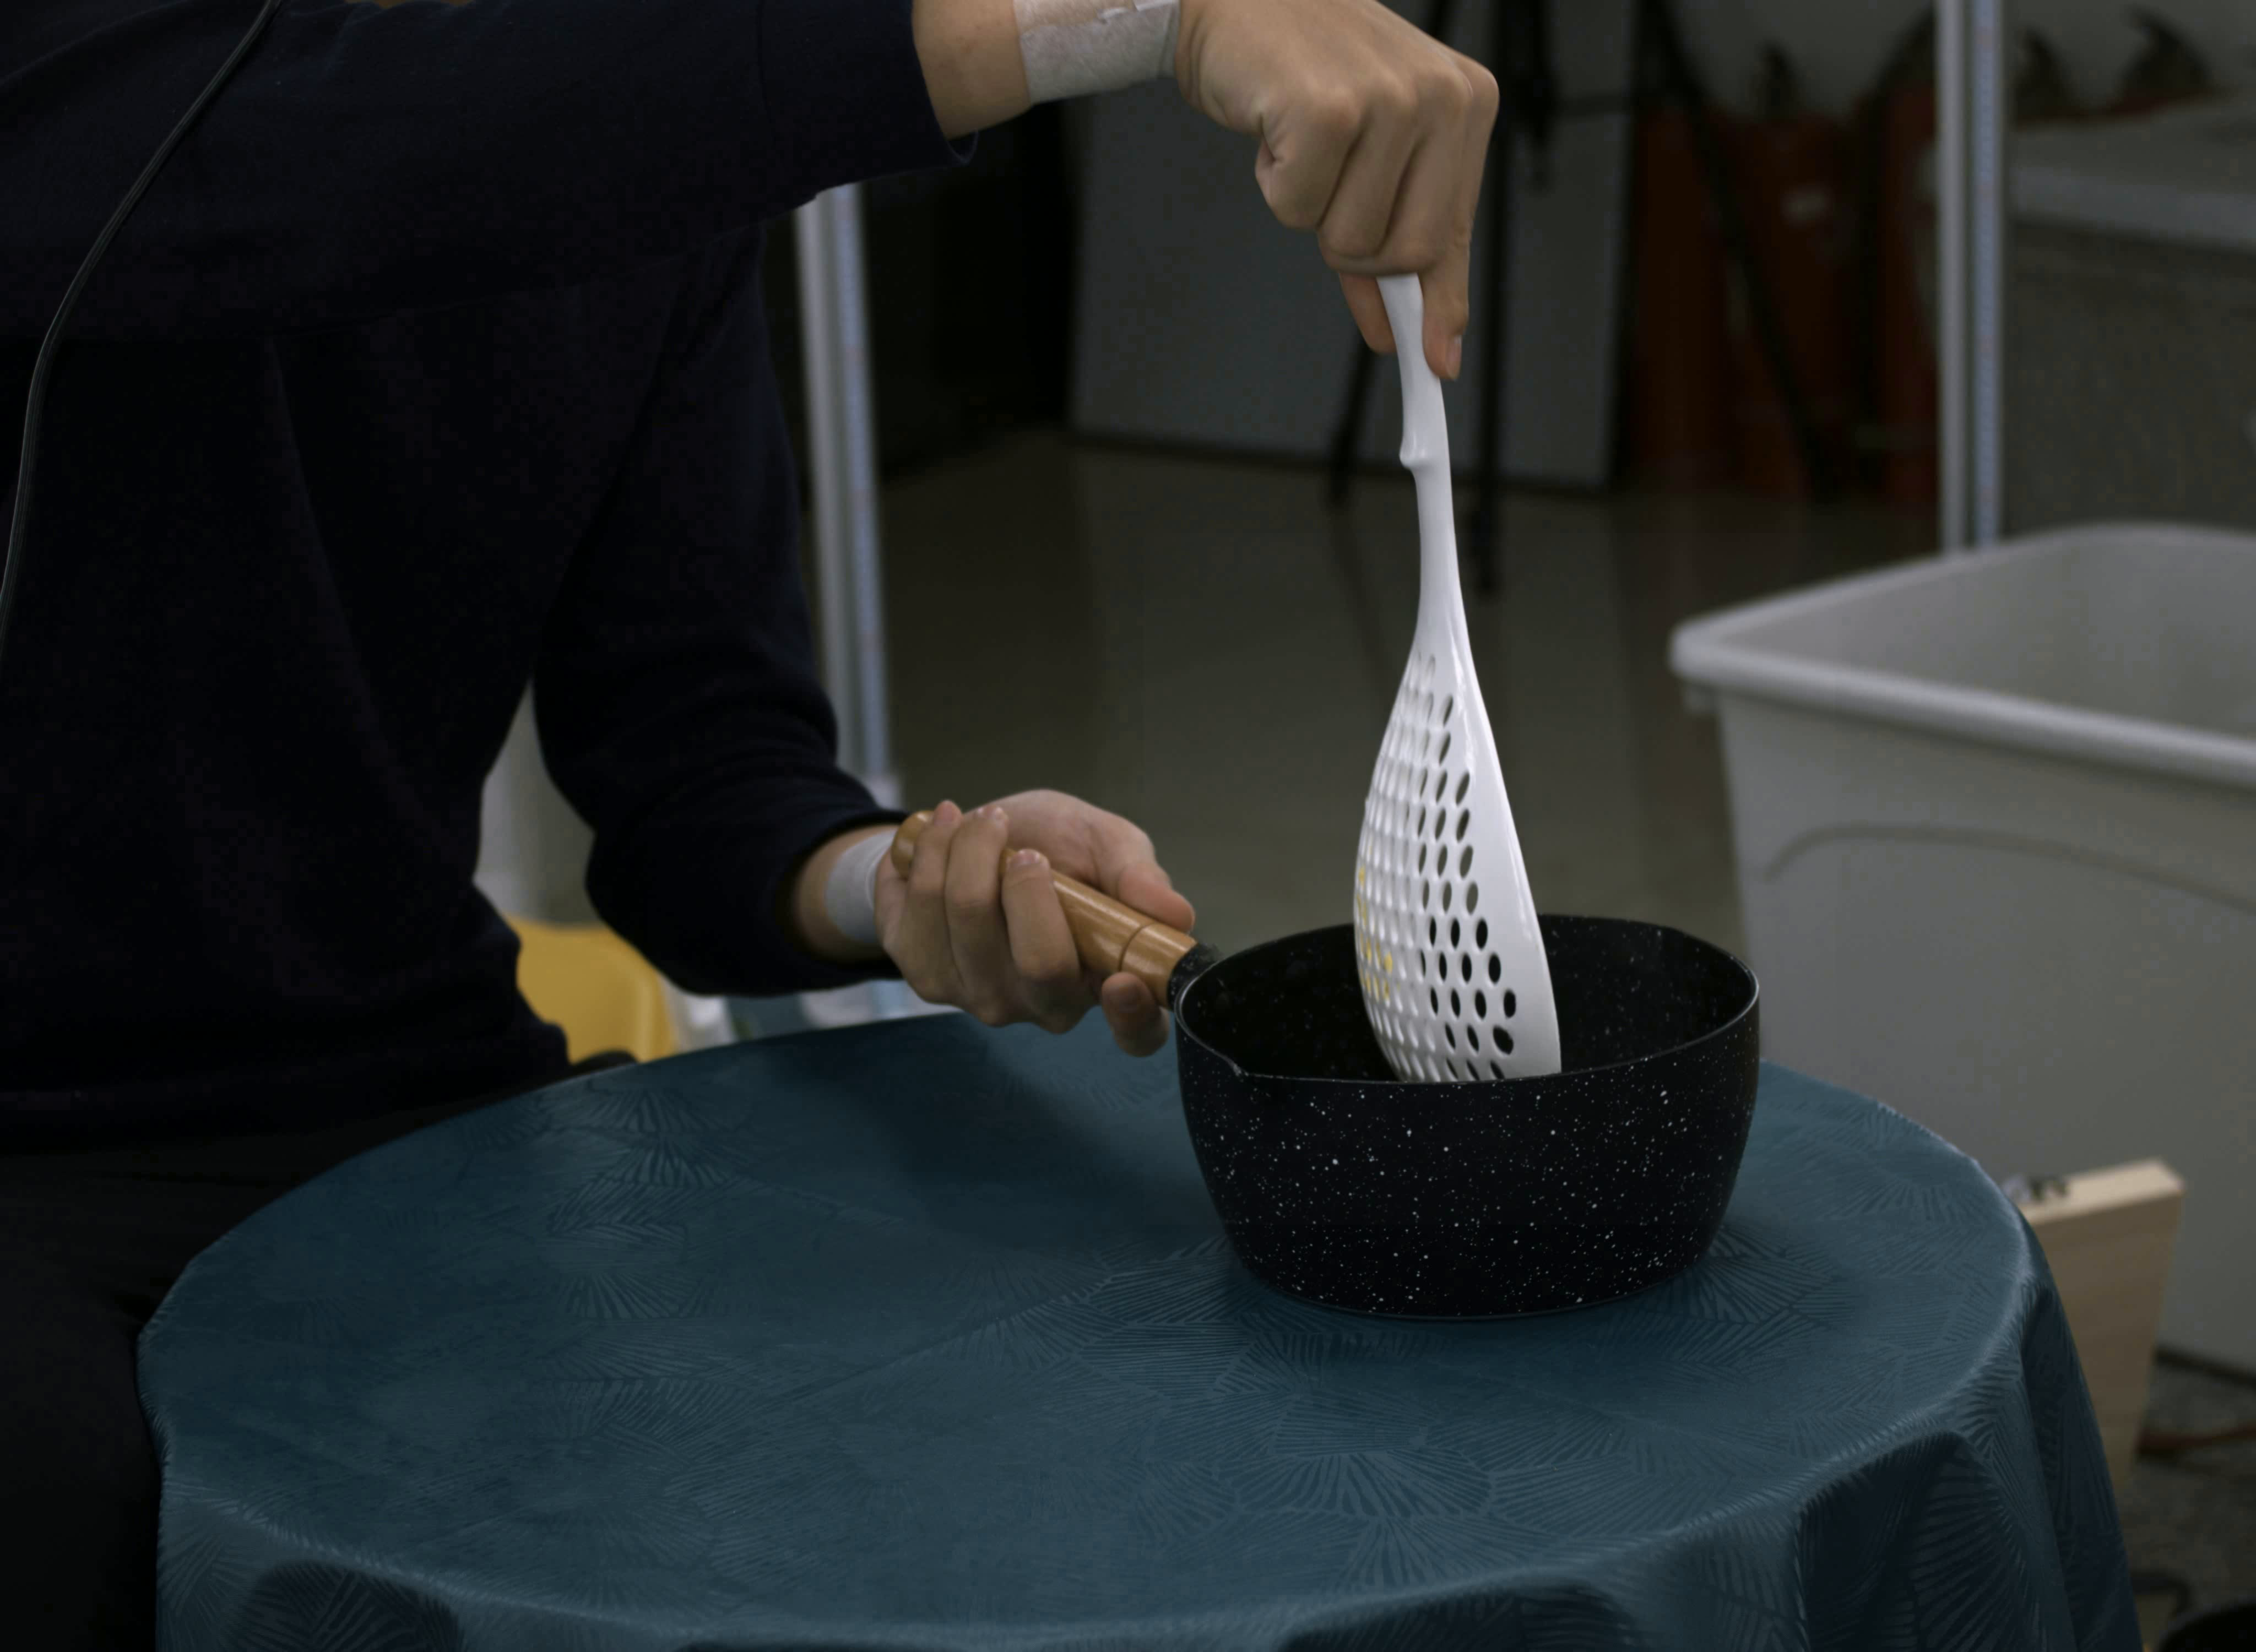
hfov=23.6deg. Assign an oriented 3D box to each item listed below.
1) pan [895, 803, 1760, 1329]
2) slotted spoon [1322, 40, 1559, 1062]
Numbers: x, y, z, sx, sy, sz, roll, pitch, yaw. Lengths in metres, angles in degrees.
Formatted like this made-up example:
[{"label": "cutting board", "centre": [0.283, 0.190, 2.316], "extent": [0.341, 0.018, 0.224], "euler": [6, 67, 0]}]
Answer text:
[{"label": "pan", "centre": [0.049, 0.070, 1.735], "extent": [0.346, 0.109, 0.203], "euler": [11, 21, 42]}, {"label": "slotted spoon", "centre": [0.087, -0.067, 1.668], "extent": [0.049, 0.352, 0.138], "euler": [-6, 13, -14]}]
